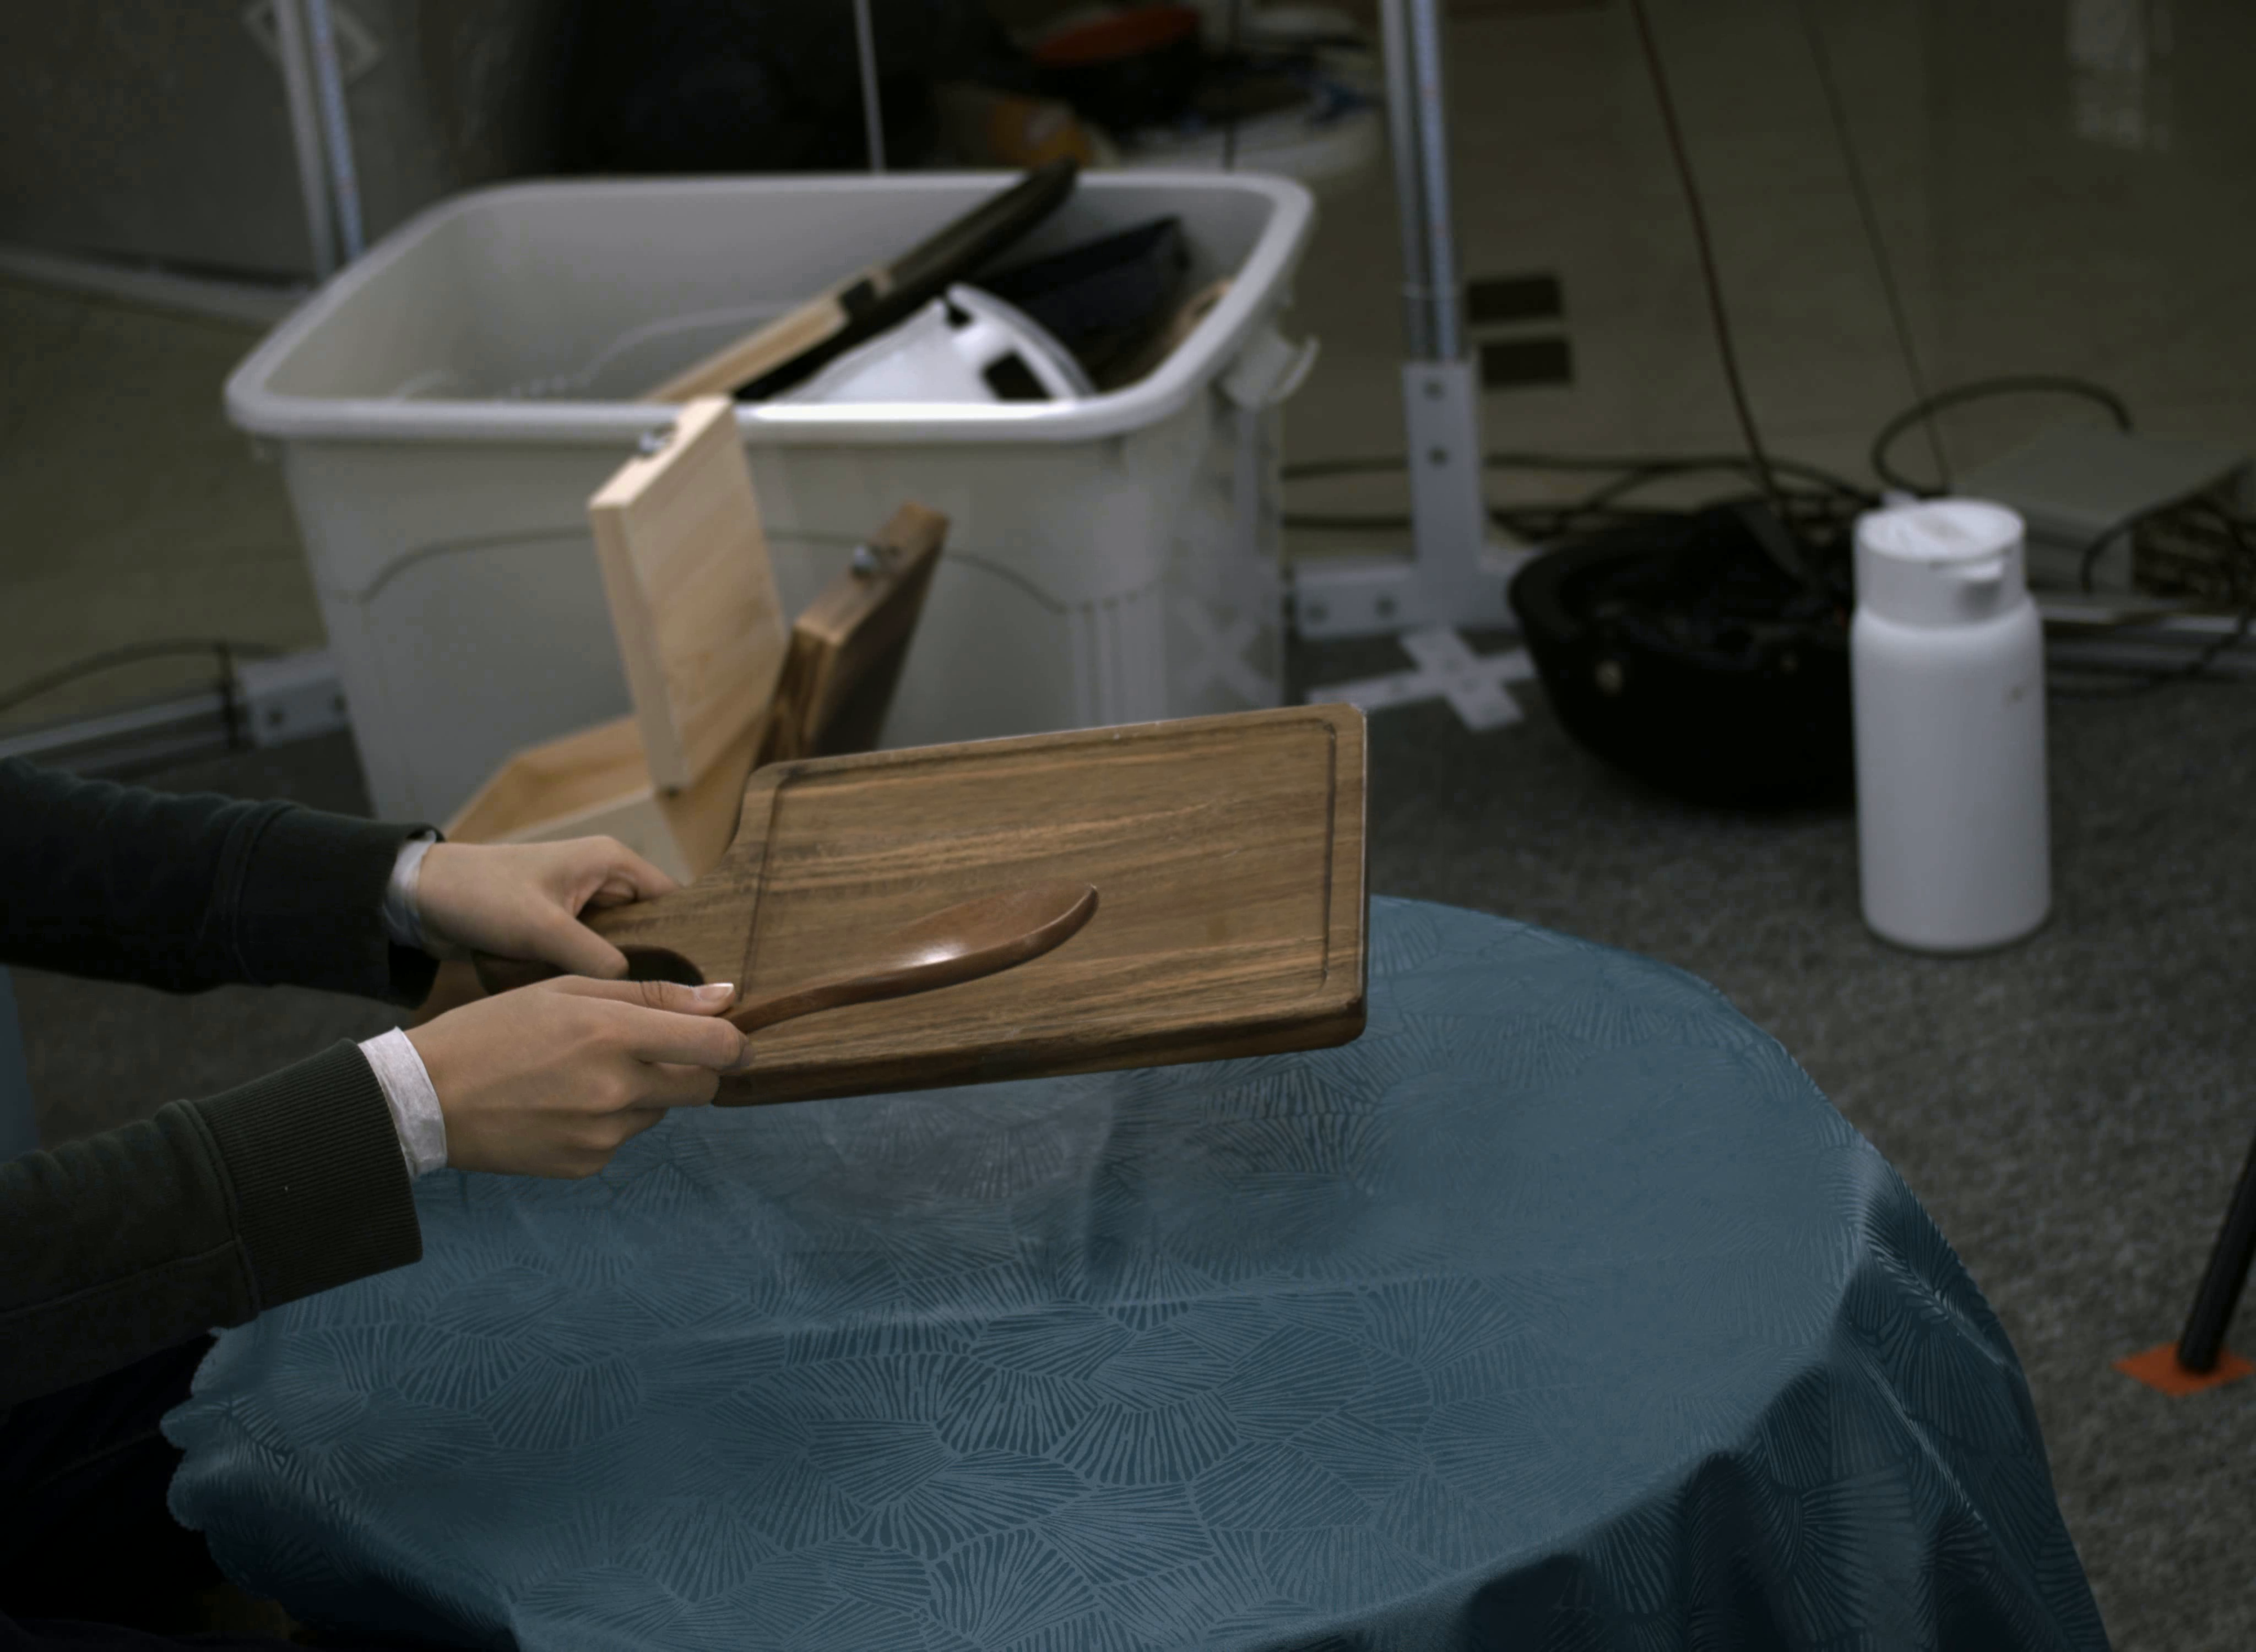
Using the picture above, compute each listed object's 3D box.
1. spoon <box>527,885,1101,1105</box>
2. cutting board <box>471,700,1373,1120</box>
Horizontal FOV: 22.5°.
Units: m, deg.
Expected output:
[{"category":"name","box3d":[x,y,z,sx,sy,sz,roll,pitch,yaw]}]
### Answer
[{"category":"spoon","box3d":[-0.111,0.062,2.024,0.215,0.017,0.075,-17,17,-8]},{"category":"cutting board","box3d":[-0.080,0.035,2.174,0.352,0.023,0.197,-6,38,8]}]
